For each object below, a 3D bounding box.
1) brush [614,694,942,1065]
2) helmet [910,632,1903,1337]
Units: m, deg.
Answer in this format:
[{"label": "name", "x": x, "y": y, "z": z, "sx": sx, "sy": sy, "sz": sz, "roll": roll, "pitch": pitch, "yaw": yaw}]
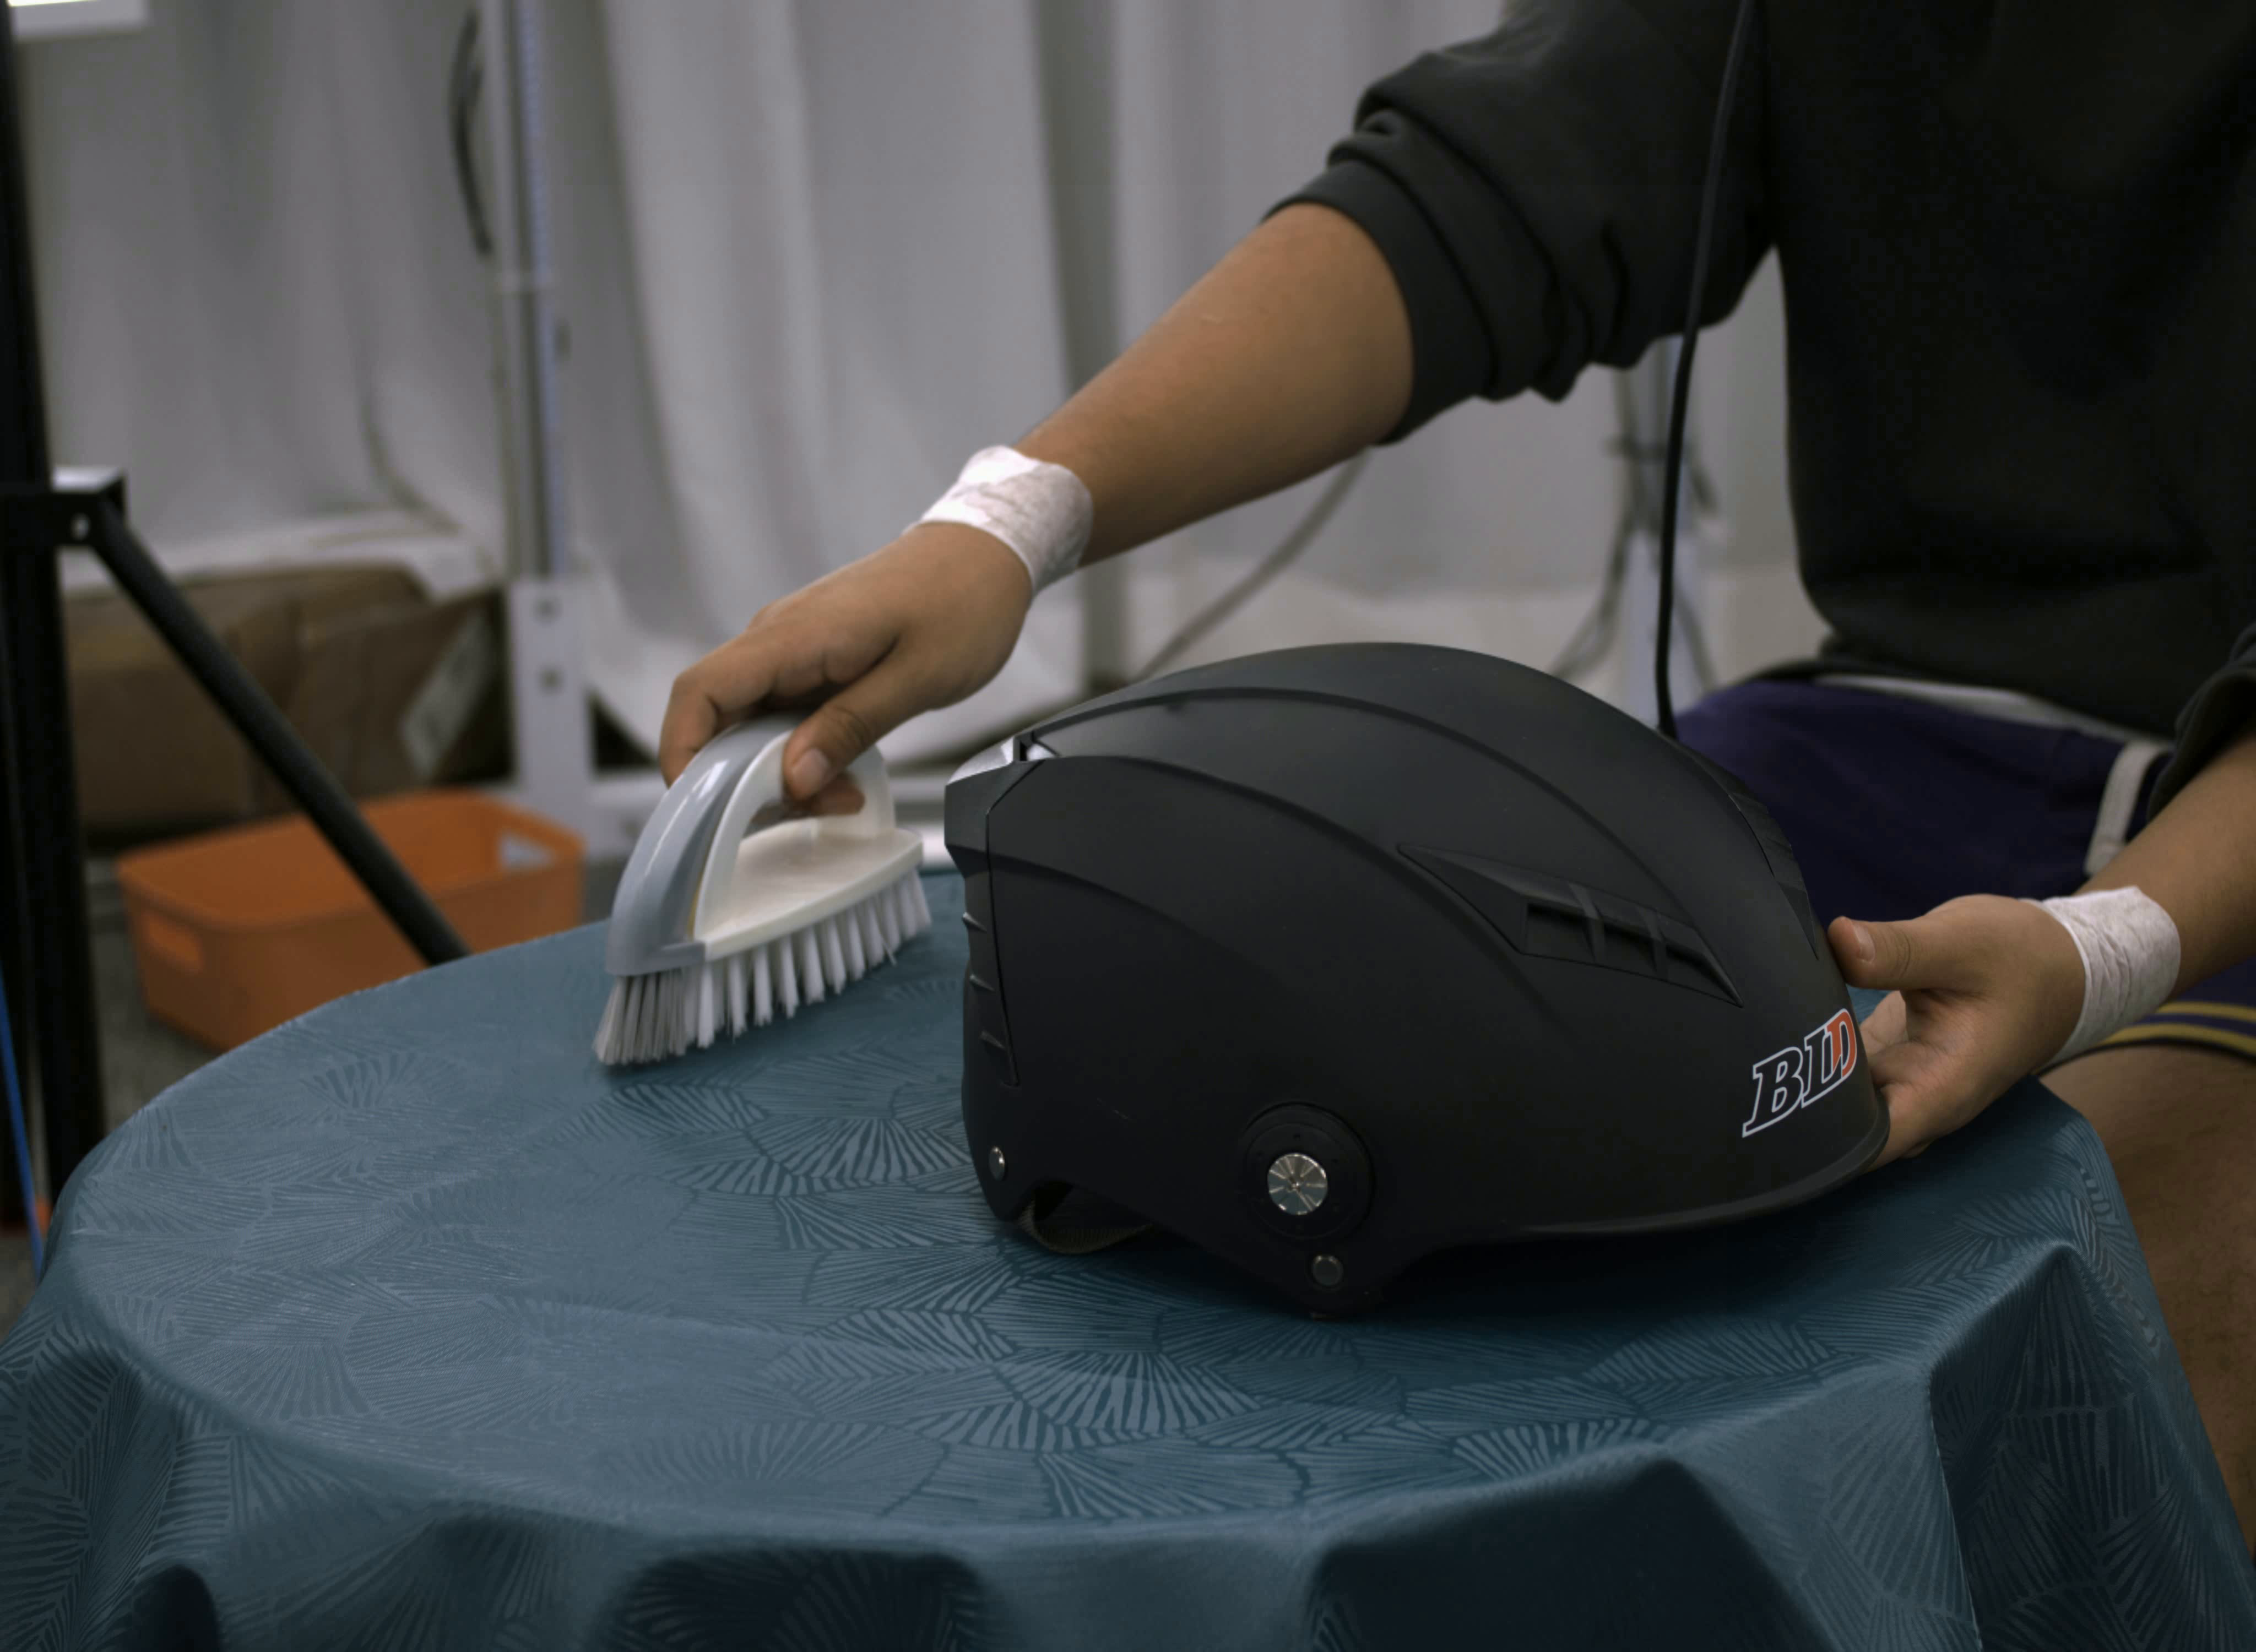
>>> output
[{"label": "brush", "x": -0.123, "y": 0.013, "z": 1.750, "sx": 0.062, "sy": 0.094, "sz": 0.173, "roll": 4, "pitch": 19, "yaw": 26}, {"label": "helmet", "x": 0.077, "y": 0.032, "z": 1.527, "sx": 0.282, "sy": 0.172, "sz": 0.242, "roll": 3, "pitch": 17, "yaw": 36}]
